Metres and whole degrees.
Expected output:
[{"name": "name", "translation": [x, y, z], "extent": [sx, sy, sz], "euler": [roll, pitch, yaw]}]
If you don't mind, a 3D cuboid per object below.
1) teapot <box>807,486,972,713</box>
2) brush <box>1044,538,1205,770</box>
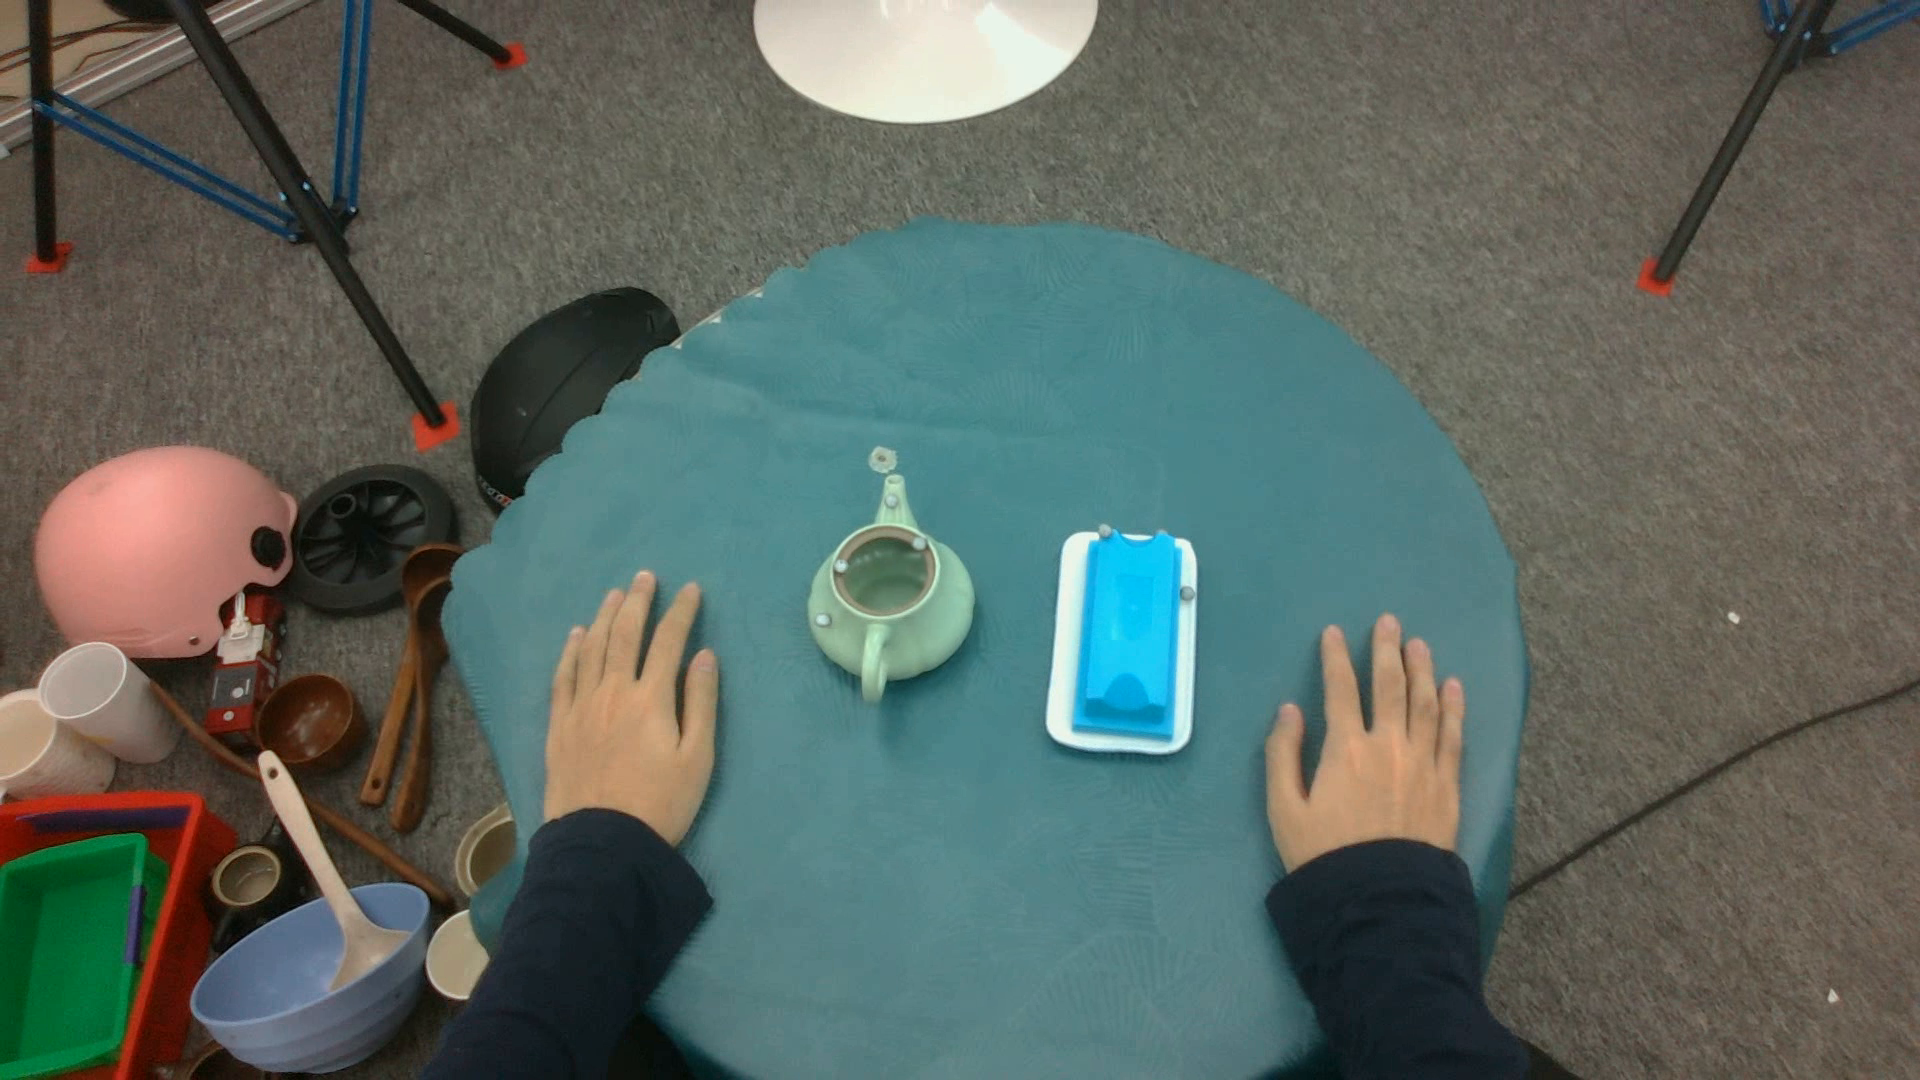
[{"name": "teapot", "translation": [-0.042, 0.040, 0.794], "extent": [0.096, 0.061, 0.137], "euler": [3, 57, 3]}, {"name": "brush", "translation": [0.094, 0.056, 0.775], "extent": [0.084, 0.055, 0.144], "euler": [4, 55, 10]}]
